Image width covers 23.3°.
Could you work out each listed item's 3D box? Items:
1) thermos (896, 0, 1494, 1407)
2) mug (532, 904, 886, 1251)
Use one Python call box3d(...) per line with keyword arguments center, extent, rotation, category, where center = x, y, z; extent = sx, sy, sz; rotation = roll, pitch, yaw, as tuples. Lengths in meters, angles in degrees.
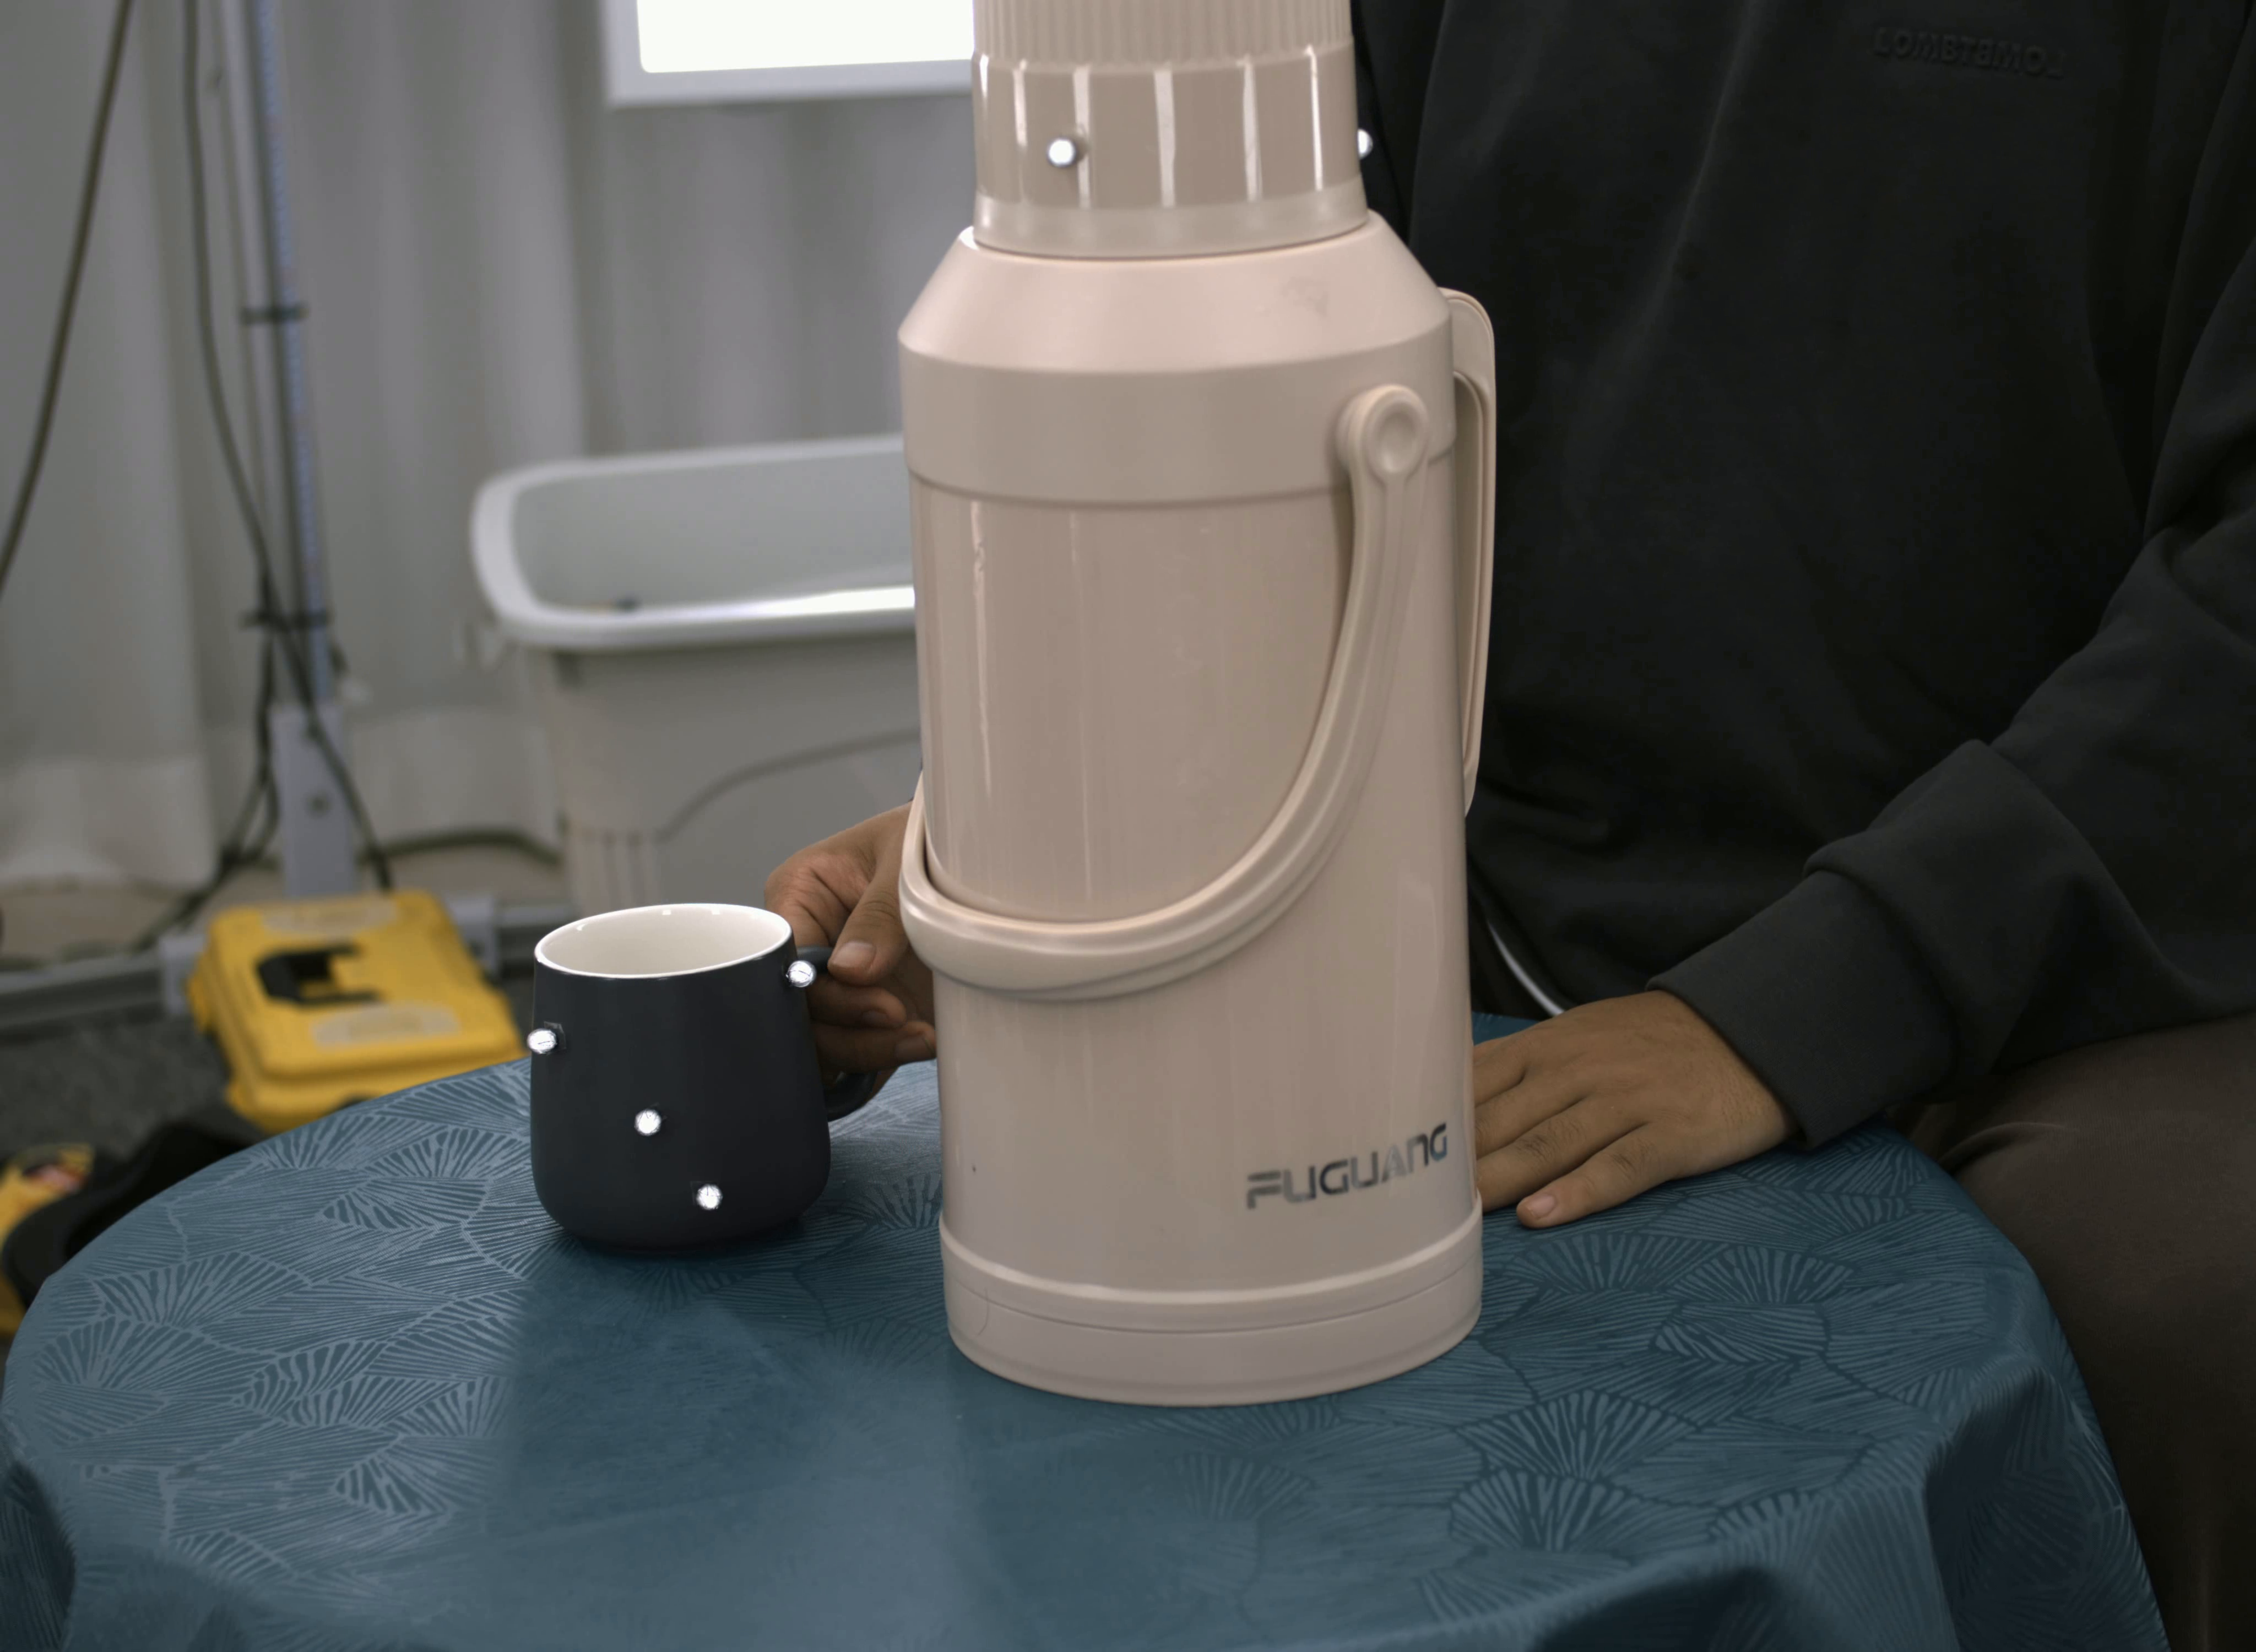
box3d(center=(0.028, -0.052, 1.571), extent=(0.206, 0.405, 0.176), rotation=(-15, 18, -41), category="thermos")
box3d(center=(-0.128, 0.075, 1.710), extent=(0.123, 0.089, 0.094), rotation=(-14, 18, -35), category="mug")
